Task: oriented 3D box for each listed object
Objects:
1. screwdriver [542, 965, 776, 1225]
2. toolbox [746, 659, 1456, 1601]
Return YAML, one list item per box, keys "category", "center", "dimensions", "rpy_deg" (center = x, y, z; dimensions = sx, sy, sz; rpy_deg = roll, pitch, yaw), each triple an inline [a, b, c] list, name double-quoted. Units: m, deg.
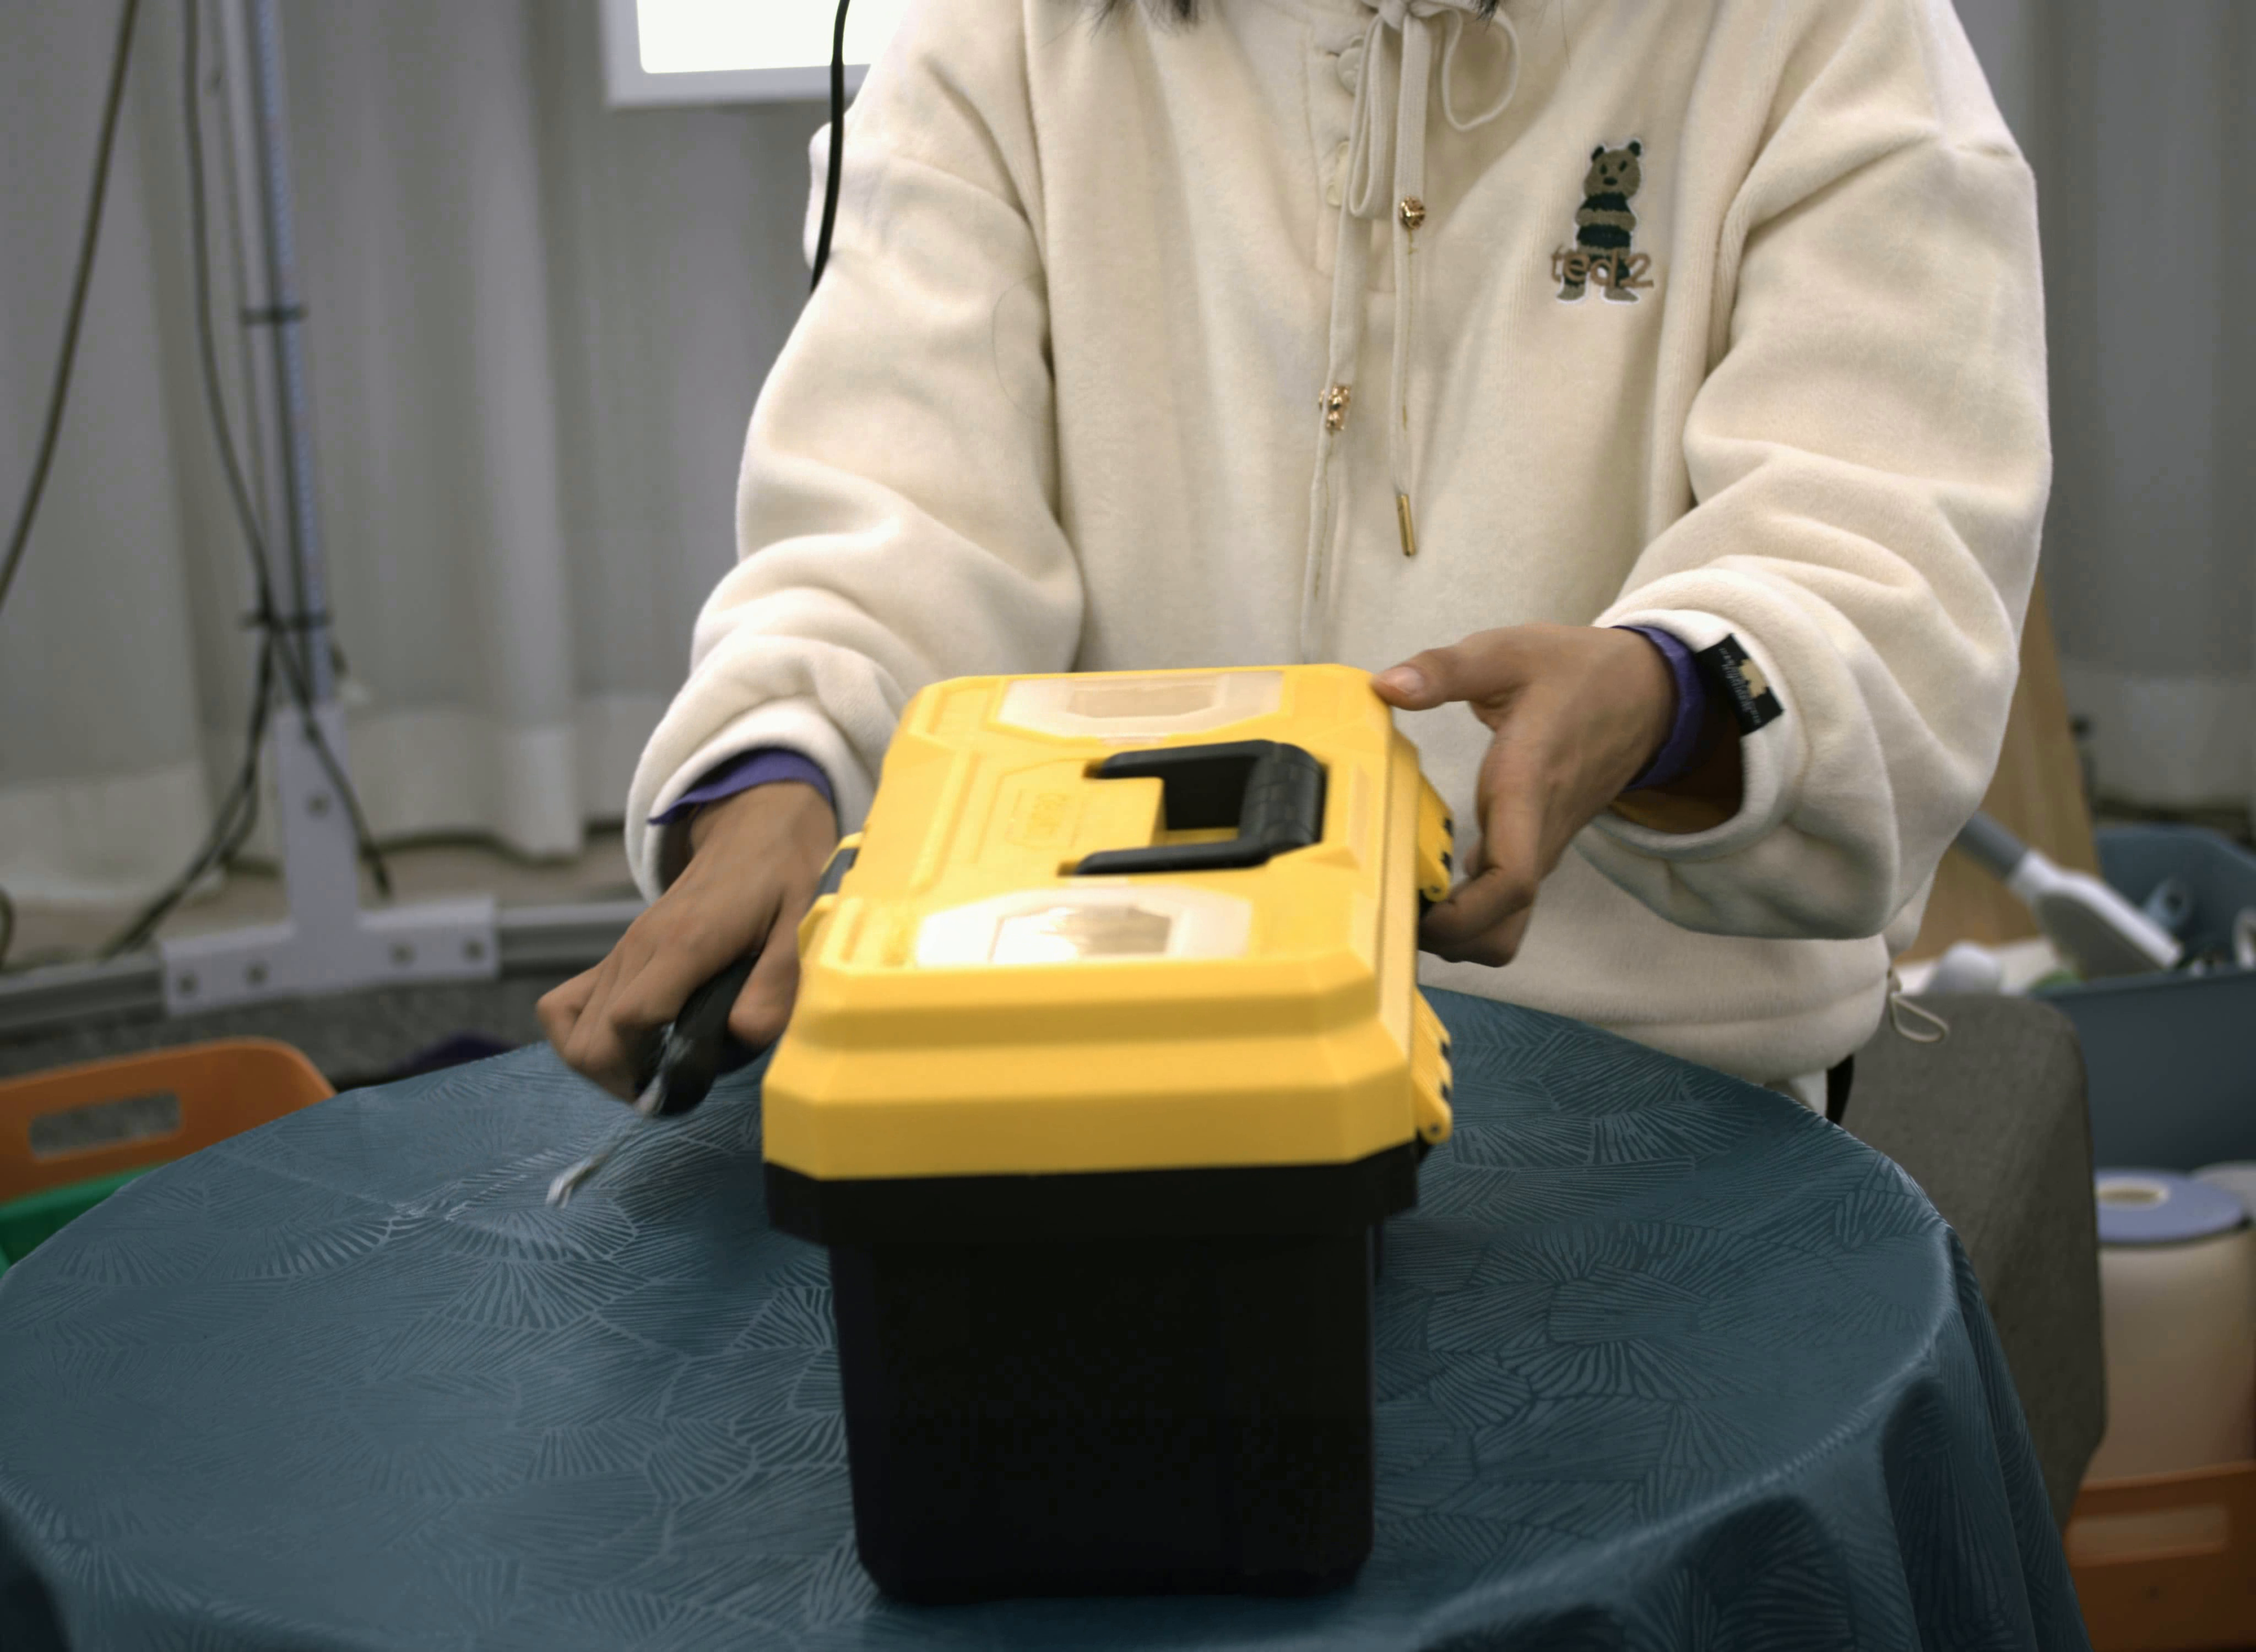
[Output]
- category: "screwdriver"
  center: [-0.148, 0.082, 1.673]
  dimensions: [0.031, 0.031, 0.197]
  rpy_deg: [2, 16, 16]
- category: "toolbox"
  center: [0.003, 0.075, 1.526]
  dimensions: [0.181, 0.172, 0.353]
  rpy_deg: [-2, 15, 5]
